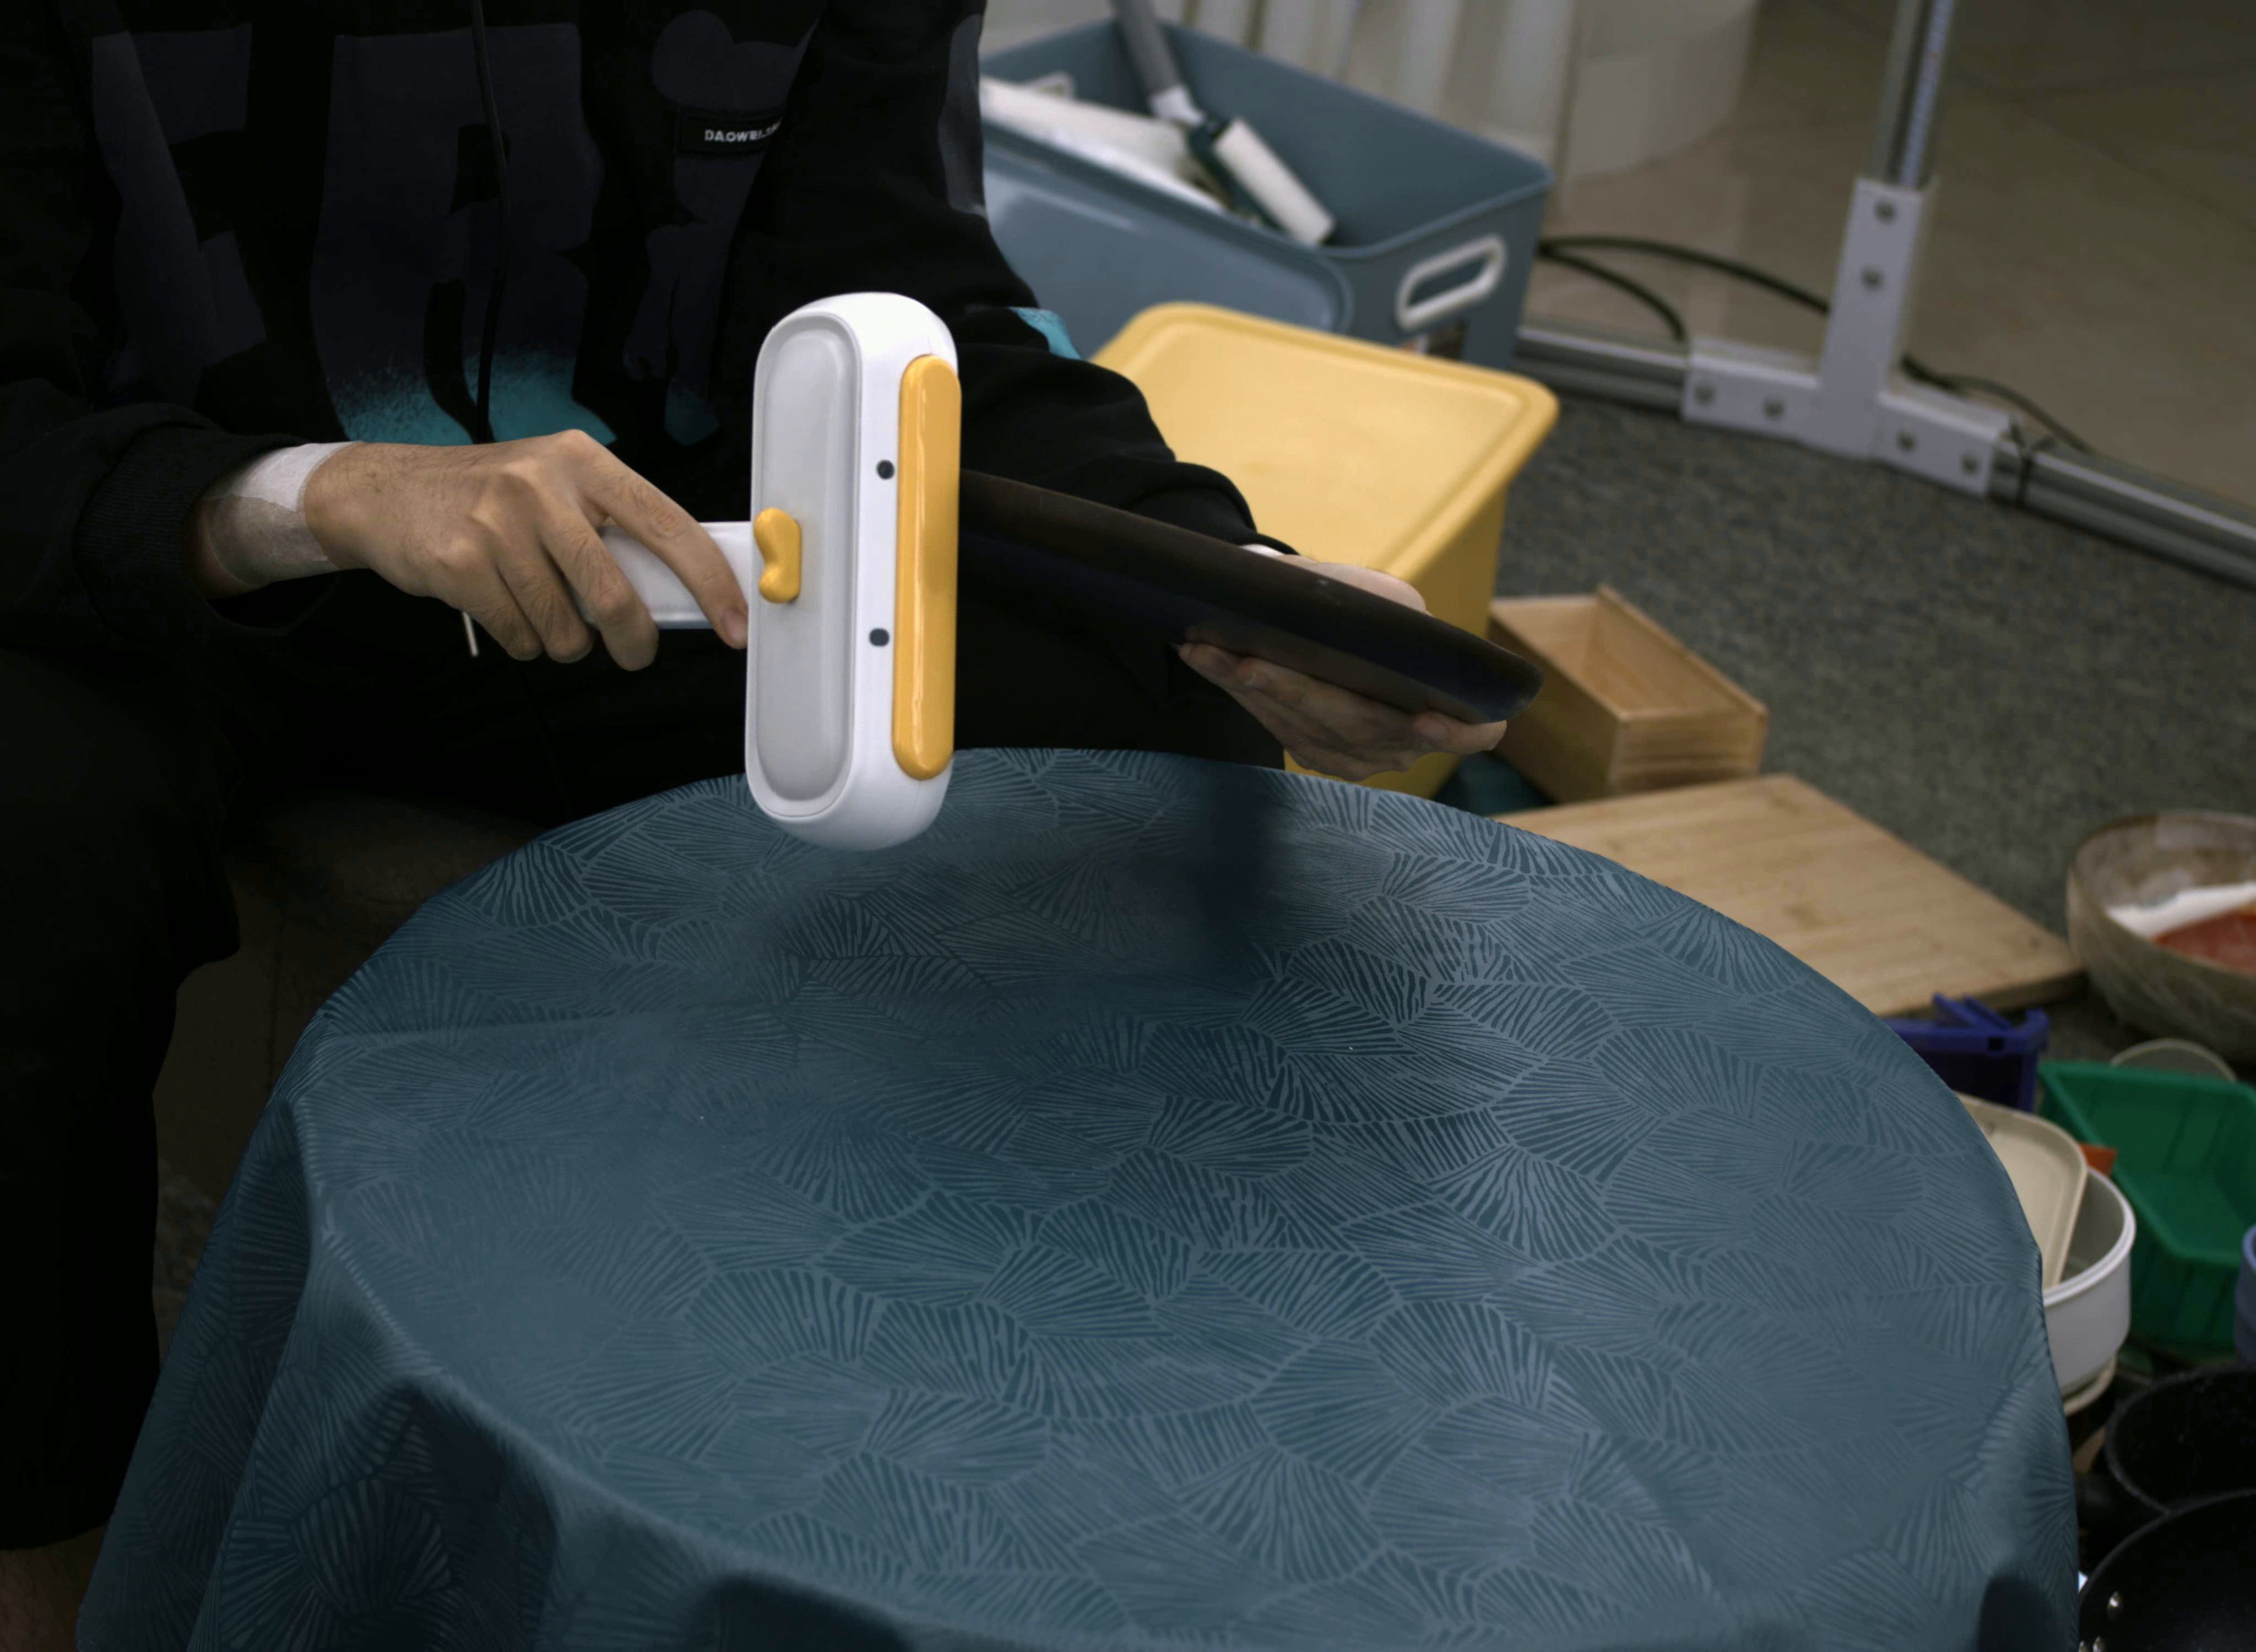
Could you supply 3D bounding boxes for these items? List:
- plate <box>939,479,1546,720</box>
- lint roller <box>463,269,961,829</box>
[{"bbox_3d":[0.026,-0.082,1.915,0.254,0.029,0.254,16,-4,1],"label":"plate"},{"bbox_3d":[-0.145,-0.089,1.861,0.193,0.193,0.073,-8,-5,36],"label":"lint roller"}]
